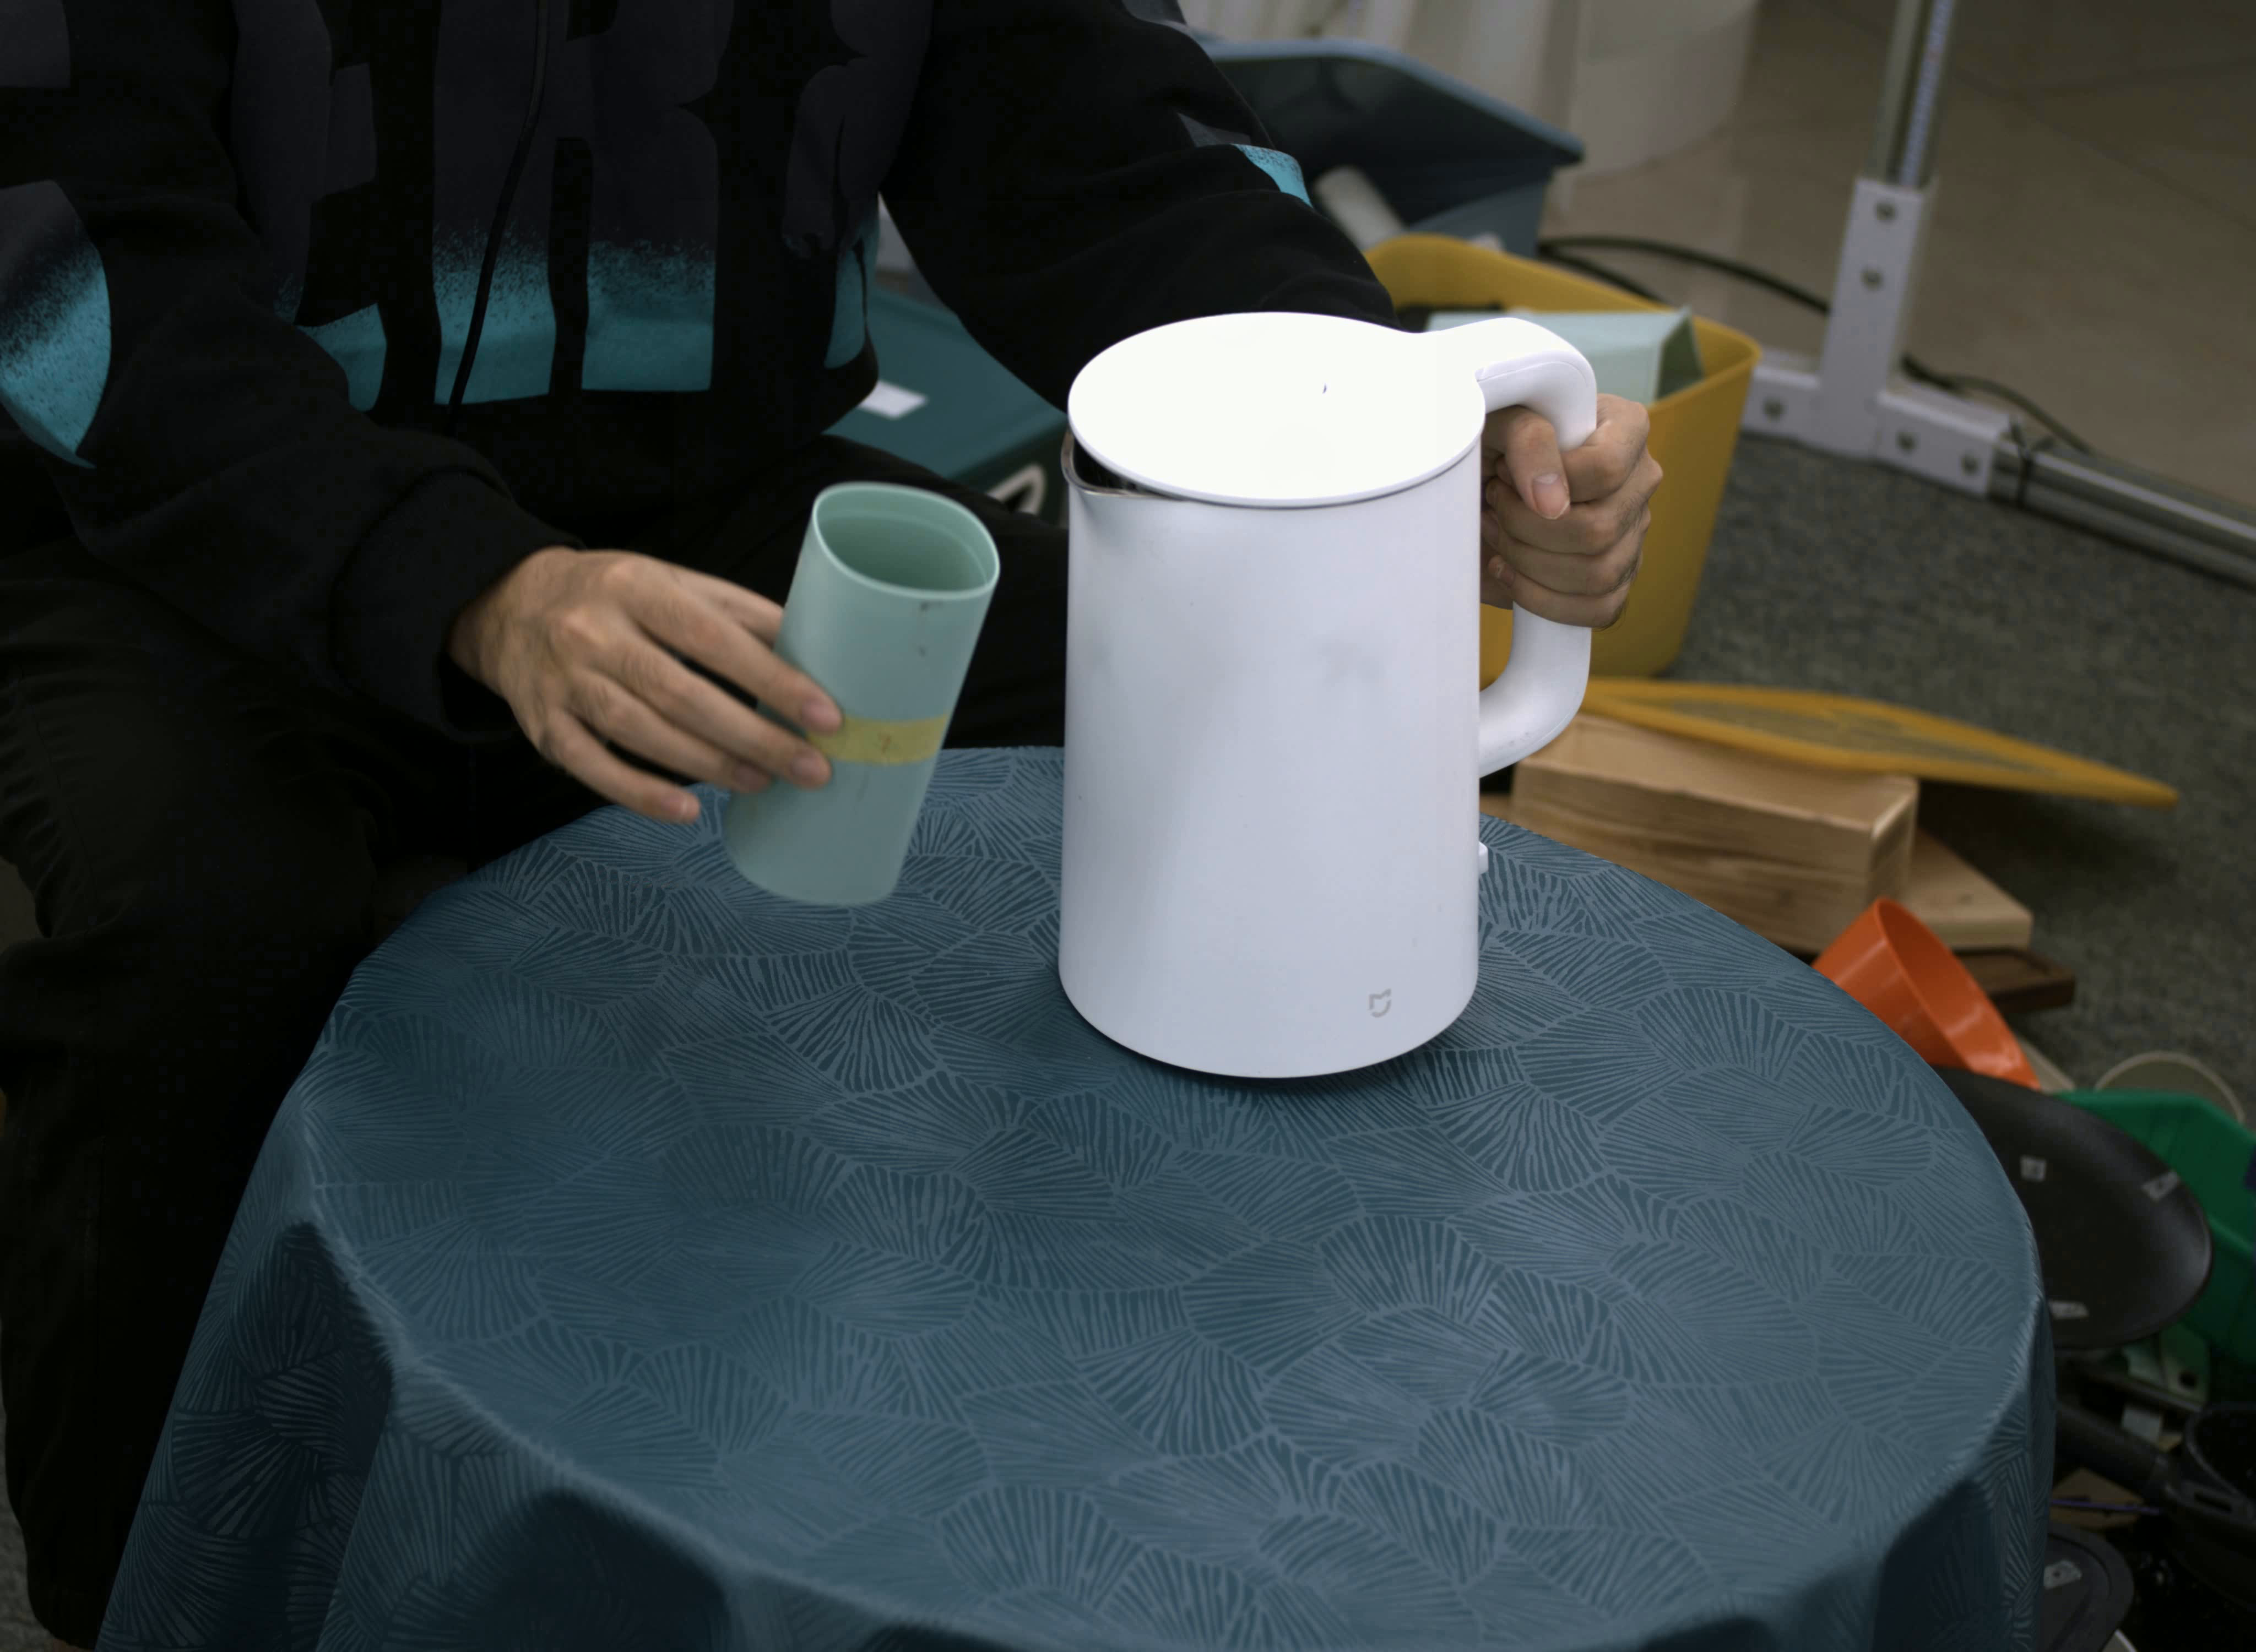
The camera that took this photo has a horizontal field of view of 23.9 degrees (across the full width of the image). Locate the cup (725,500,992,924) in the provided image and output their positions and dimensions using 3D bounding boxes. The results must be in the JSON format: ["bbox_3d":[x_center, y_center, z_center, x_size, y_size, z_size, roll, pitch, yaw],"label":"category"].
[{"bbox_3d":[-0.091,-0.038,1.771,0.066,0.132,0.067,12,35,-9],"label":"cup"}]

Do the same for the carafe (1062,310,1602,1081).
[{"bbox_3d":[0.074,-0.054,1.883,0.212,0.239,0.153,-18,35,-26],"label":"carafe"}]
